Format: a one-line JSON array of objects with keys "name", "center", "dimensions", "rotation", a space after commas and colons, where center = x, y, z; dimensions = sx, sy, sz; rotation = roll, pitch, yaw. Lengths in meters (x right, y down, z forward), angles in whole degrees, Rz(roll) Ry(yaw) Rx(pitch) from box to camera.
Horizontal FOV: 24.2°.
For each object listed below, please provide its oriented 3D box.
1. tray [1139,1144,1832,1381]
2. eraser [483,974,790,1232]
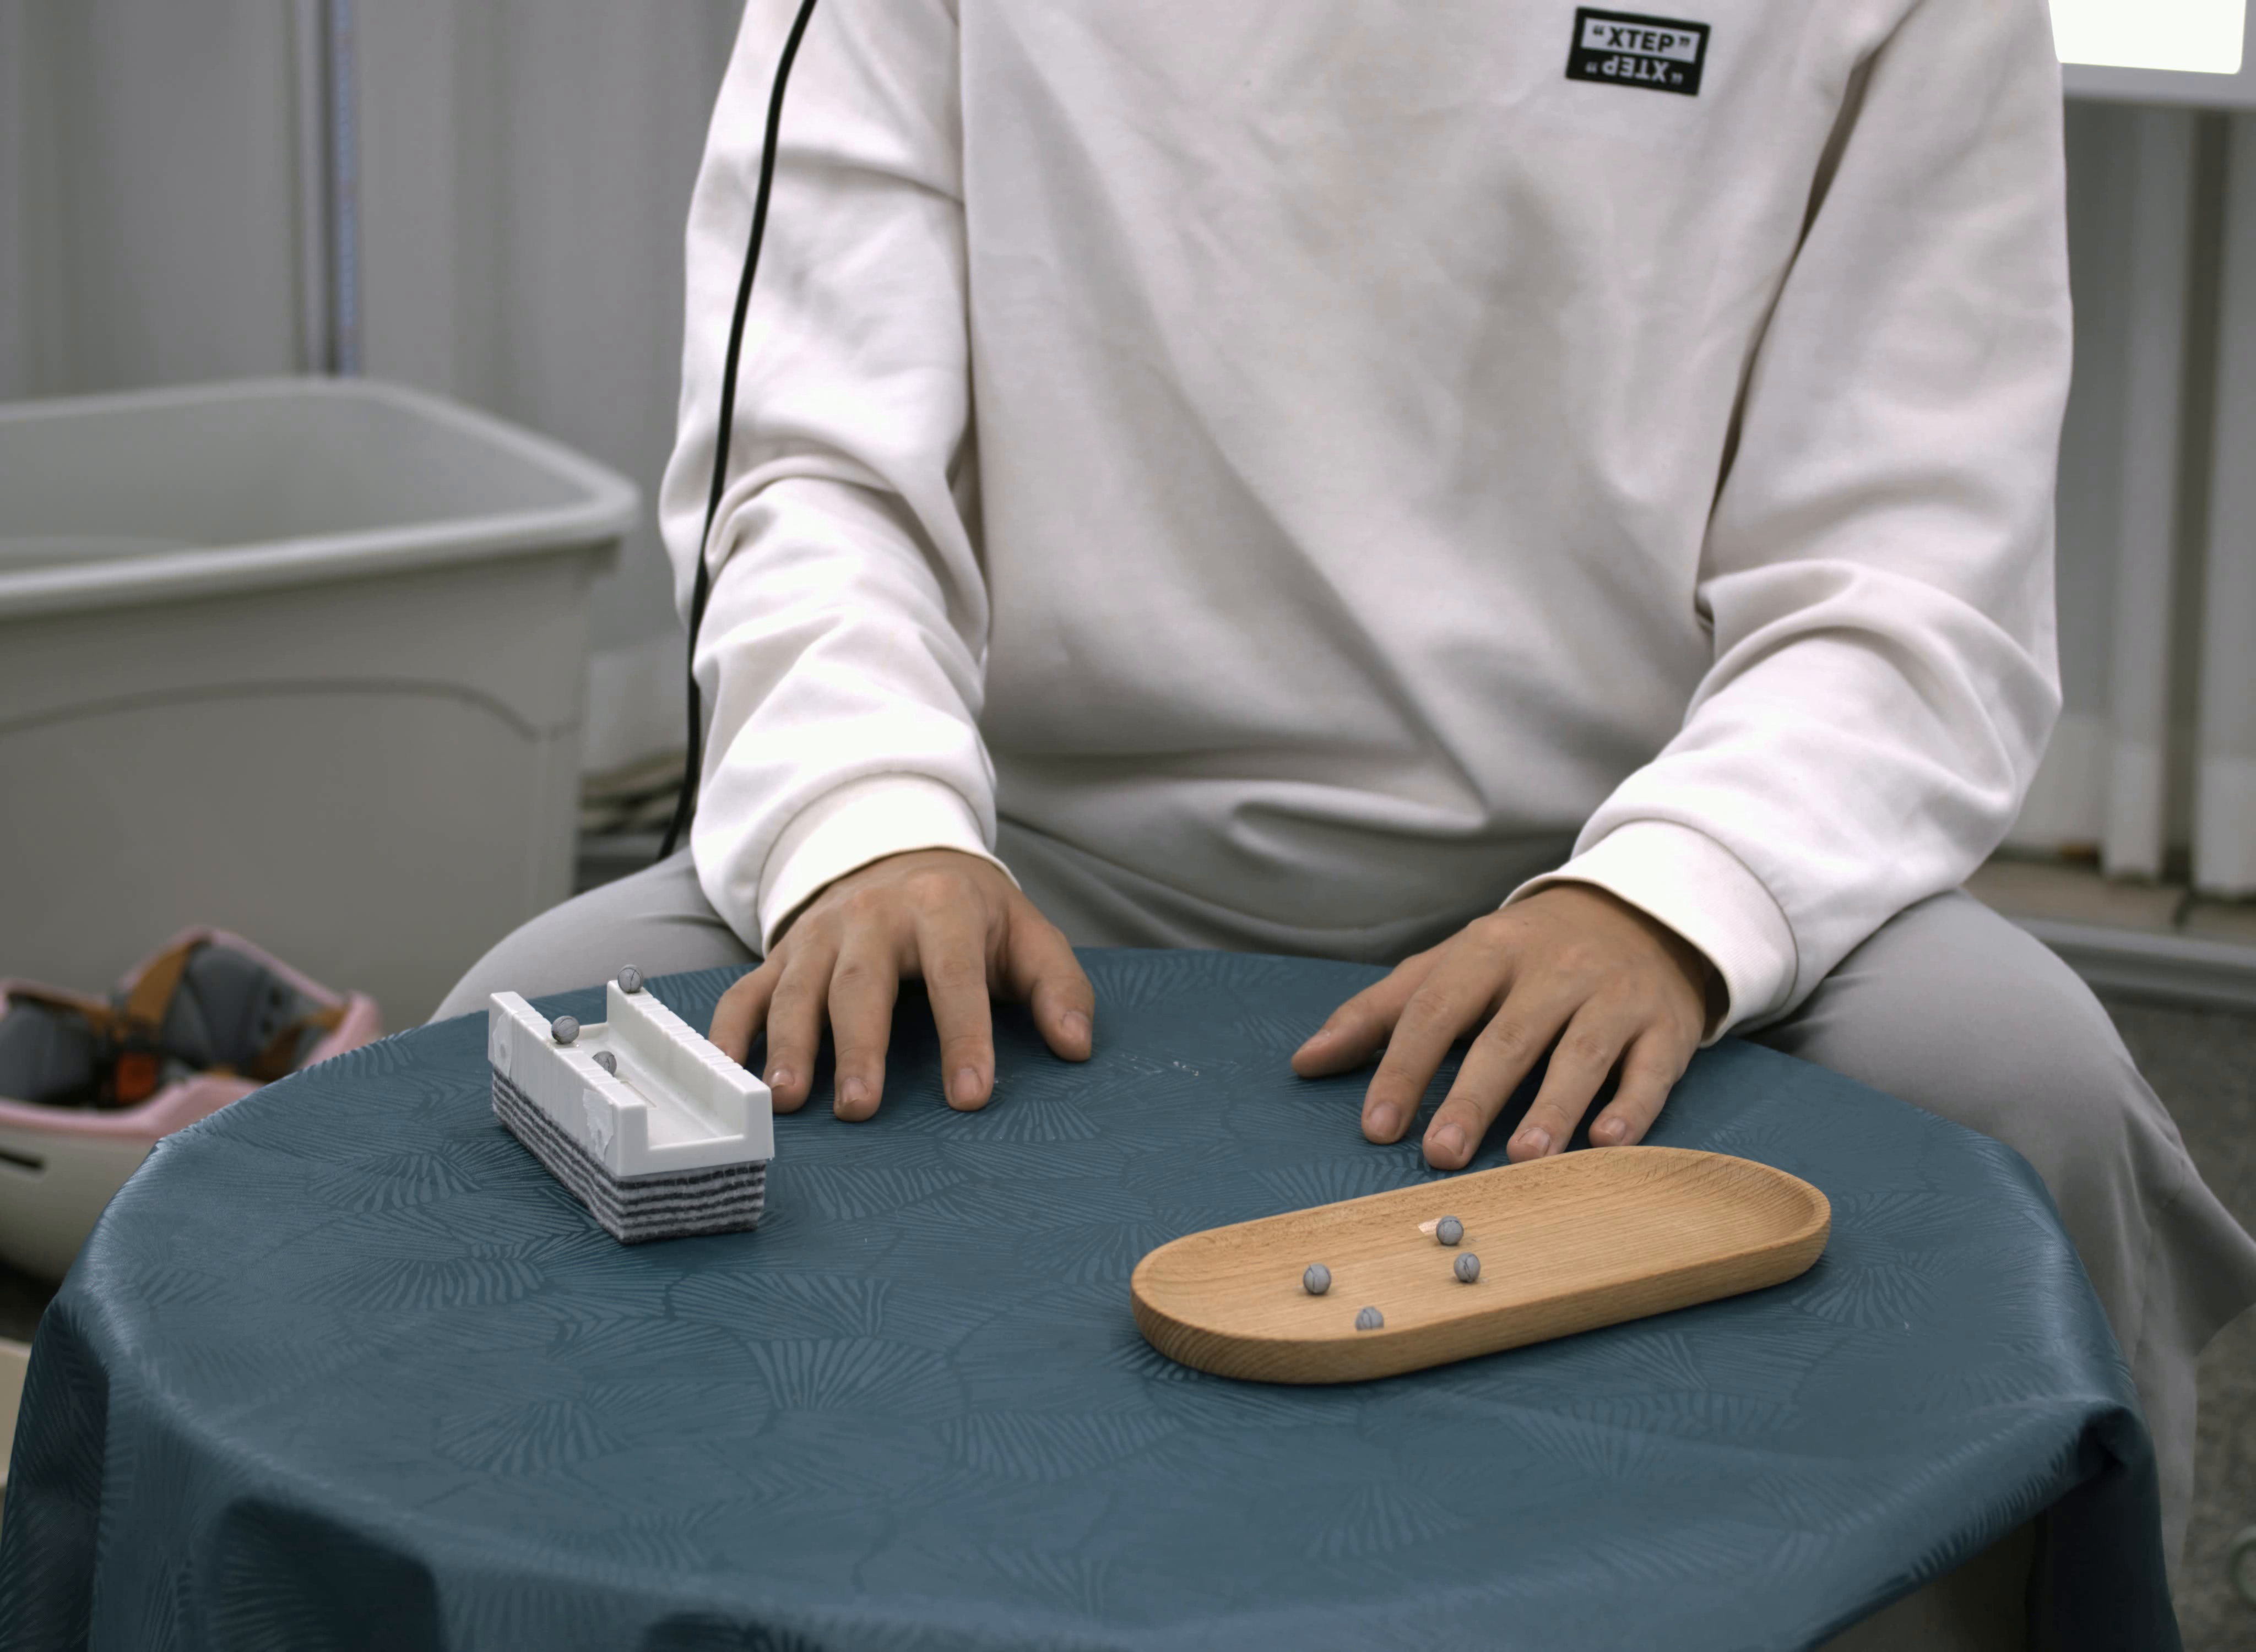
[{"name": "tray", "center": [0.107, 0.128, 1.550], "dimensions": [0.232, 0.020, 0.100], "rotation": [-8, 19, -34]}, {"name": "eraser", "center": [-0.154, 0.085, 1.631], "dimensions": [0.050, 0.047, 0.132], "rotation": [-2, 14, -28]}]
